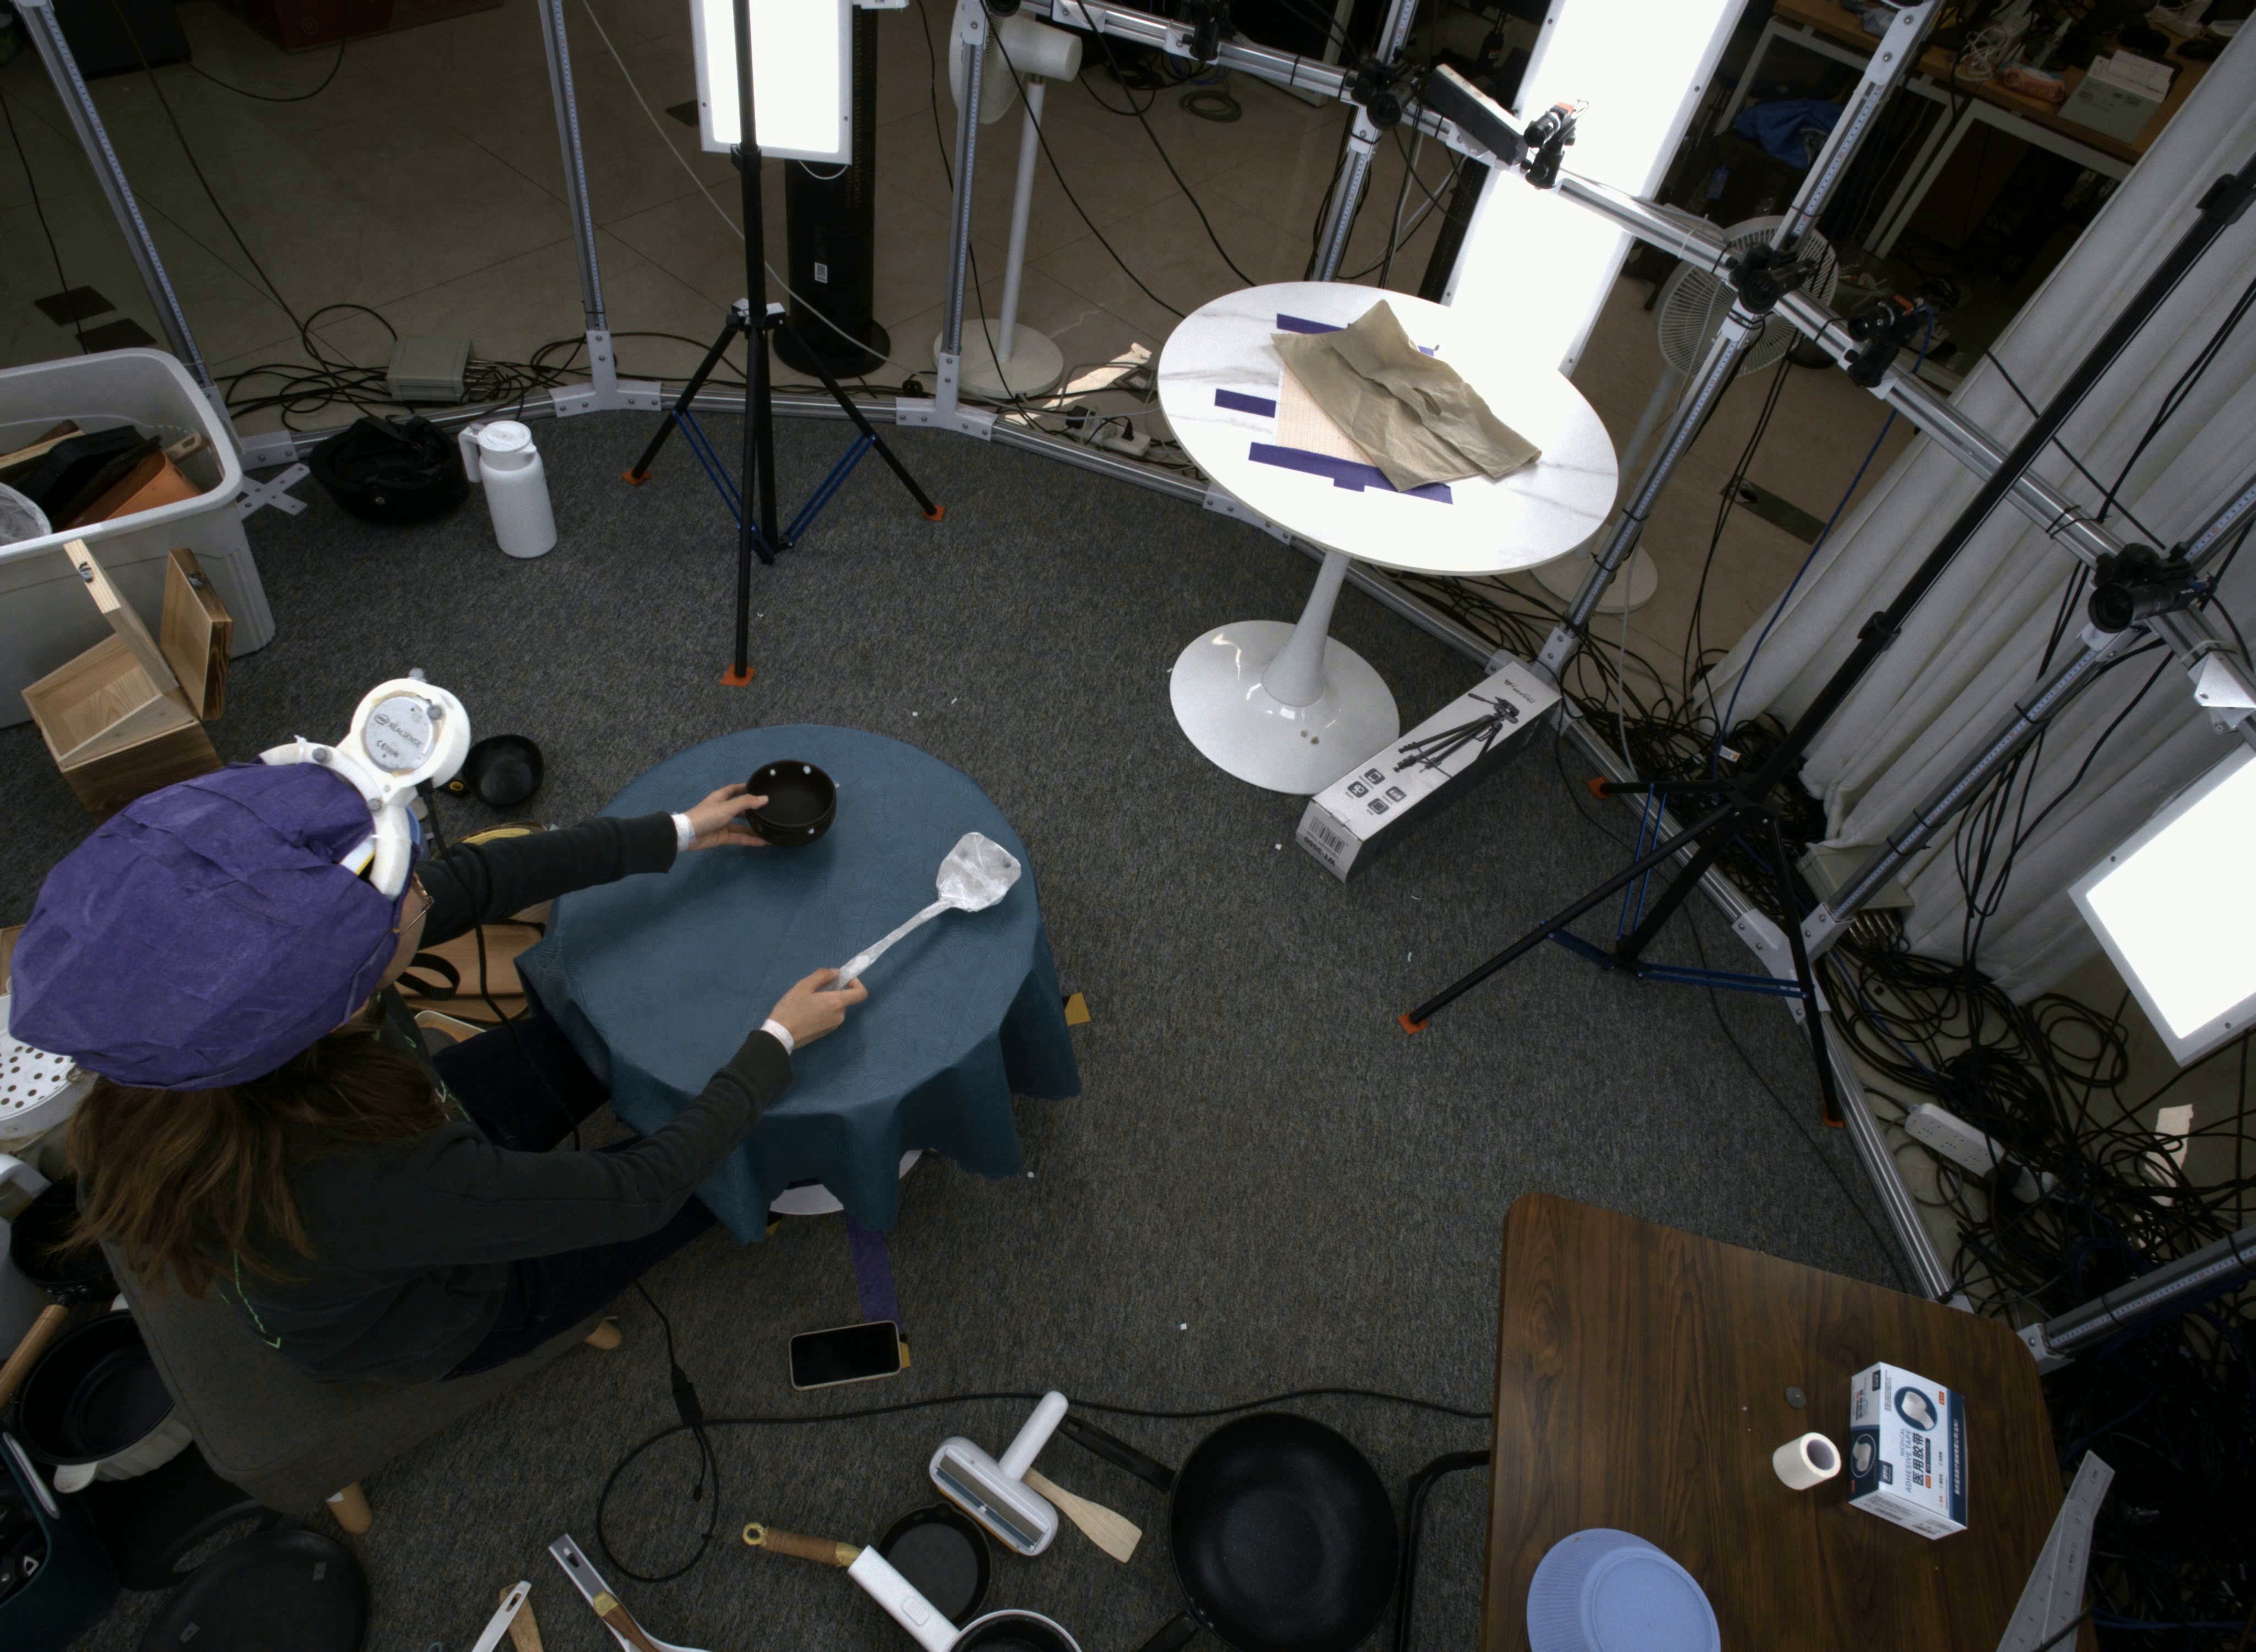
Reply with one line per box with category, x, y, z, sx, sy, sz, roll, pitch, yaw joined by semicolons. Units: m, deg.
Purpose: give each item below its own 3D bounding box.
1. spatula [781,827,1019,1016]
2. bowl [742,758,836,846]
spatula;-0.282;0.122;1.608;0.096;0.045;0.365;38;49;16
bowl;-0.437;-0.023;1.672;0.118;0.071;0.116;8;49;-8
